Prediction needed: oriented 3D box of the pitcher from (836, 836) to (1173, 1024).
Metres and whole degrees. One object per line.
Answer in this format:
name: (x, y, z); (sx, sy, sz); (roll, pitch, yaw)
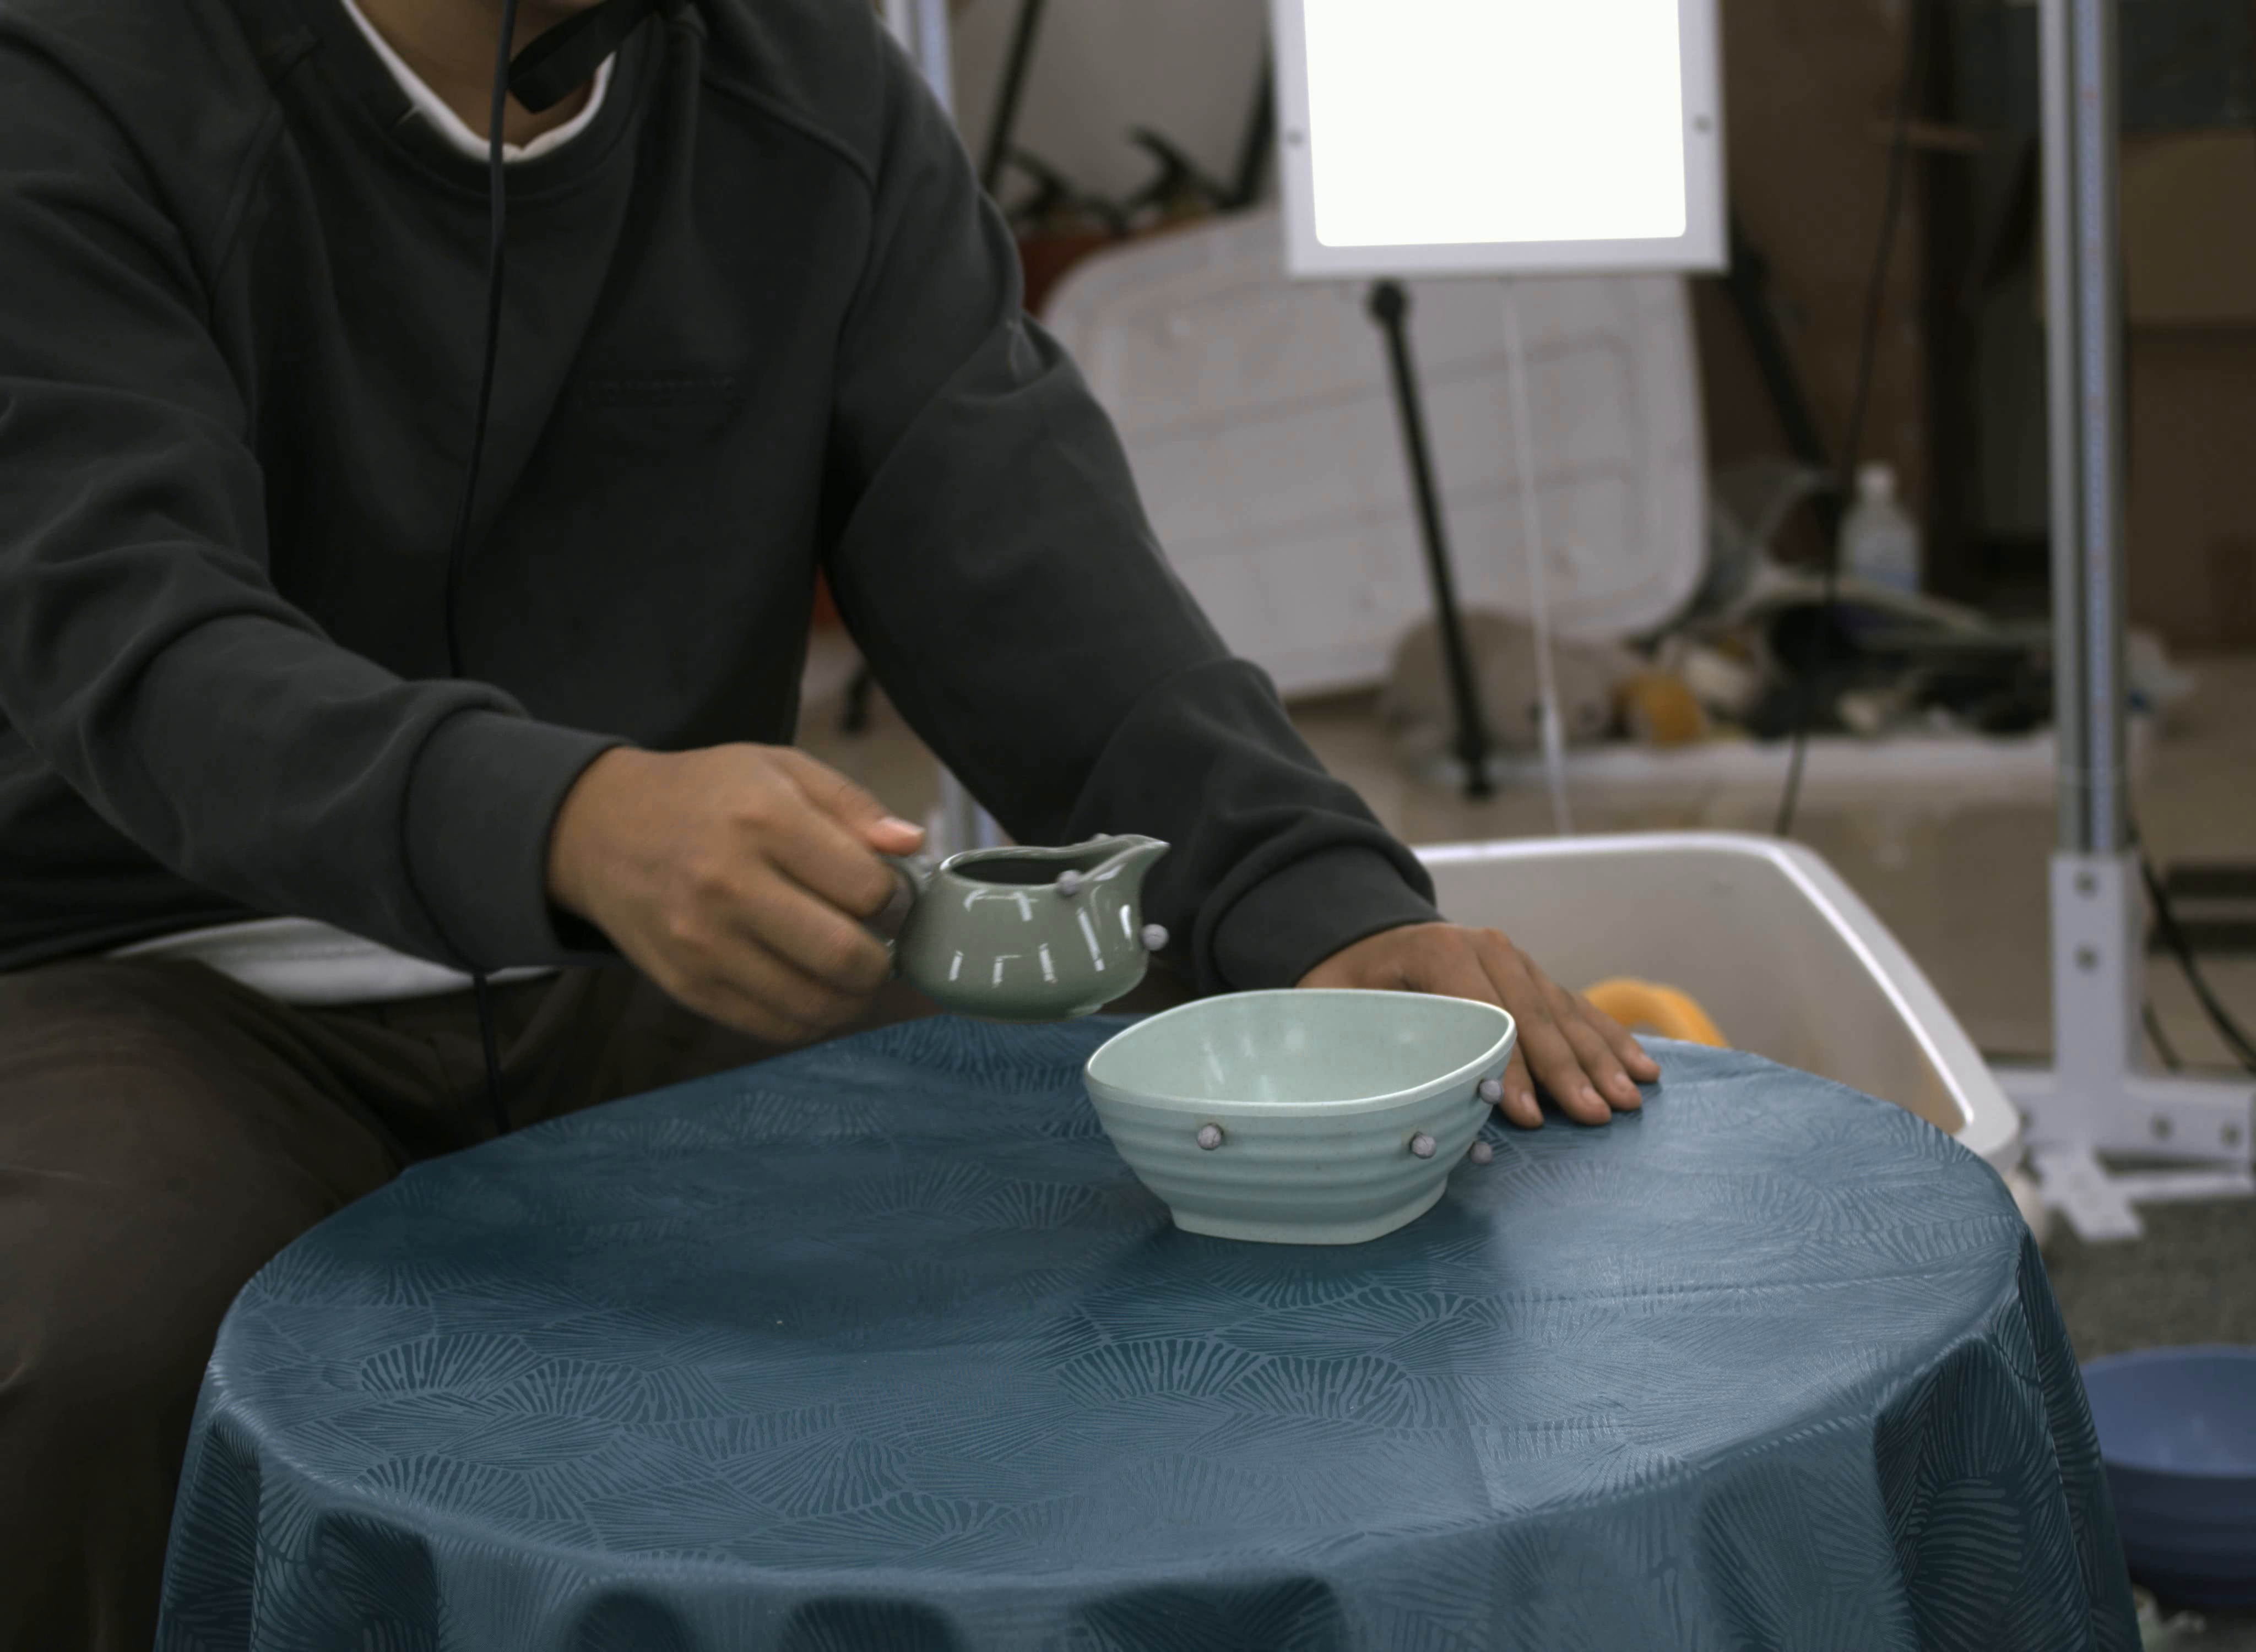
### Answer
pitcher: (-0.040, 0.032, 1.812); (0.111, 0.056, 0.084); (-2, 13, -9)

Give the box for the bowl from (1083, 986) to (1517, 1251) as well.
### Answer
bowl: (0.060, 0.102, 1.862); (0.151, 0.059, 0.151); (-4, 15, 0)
